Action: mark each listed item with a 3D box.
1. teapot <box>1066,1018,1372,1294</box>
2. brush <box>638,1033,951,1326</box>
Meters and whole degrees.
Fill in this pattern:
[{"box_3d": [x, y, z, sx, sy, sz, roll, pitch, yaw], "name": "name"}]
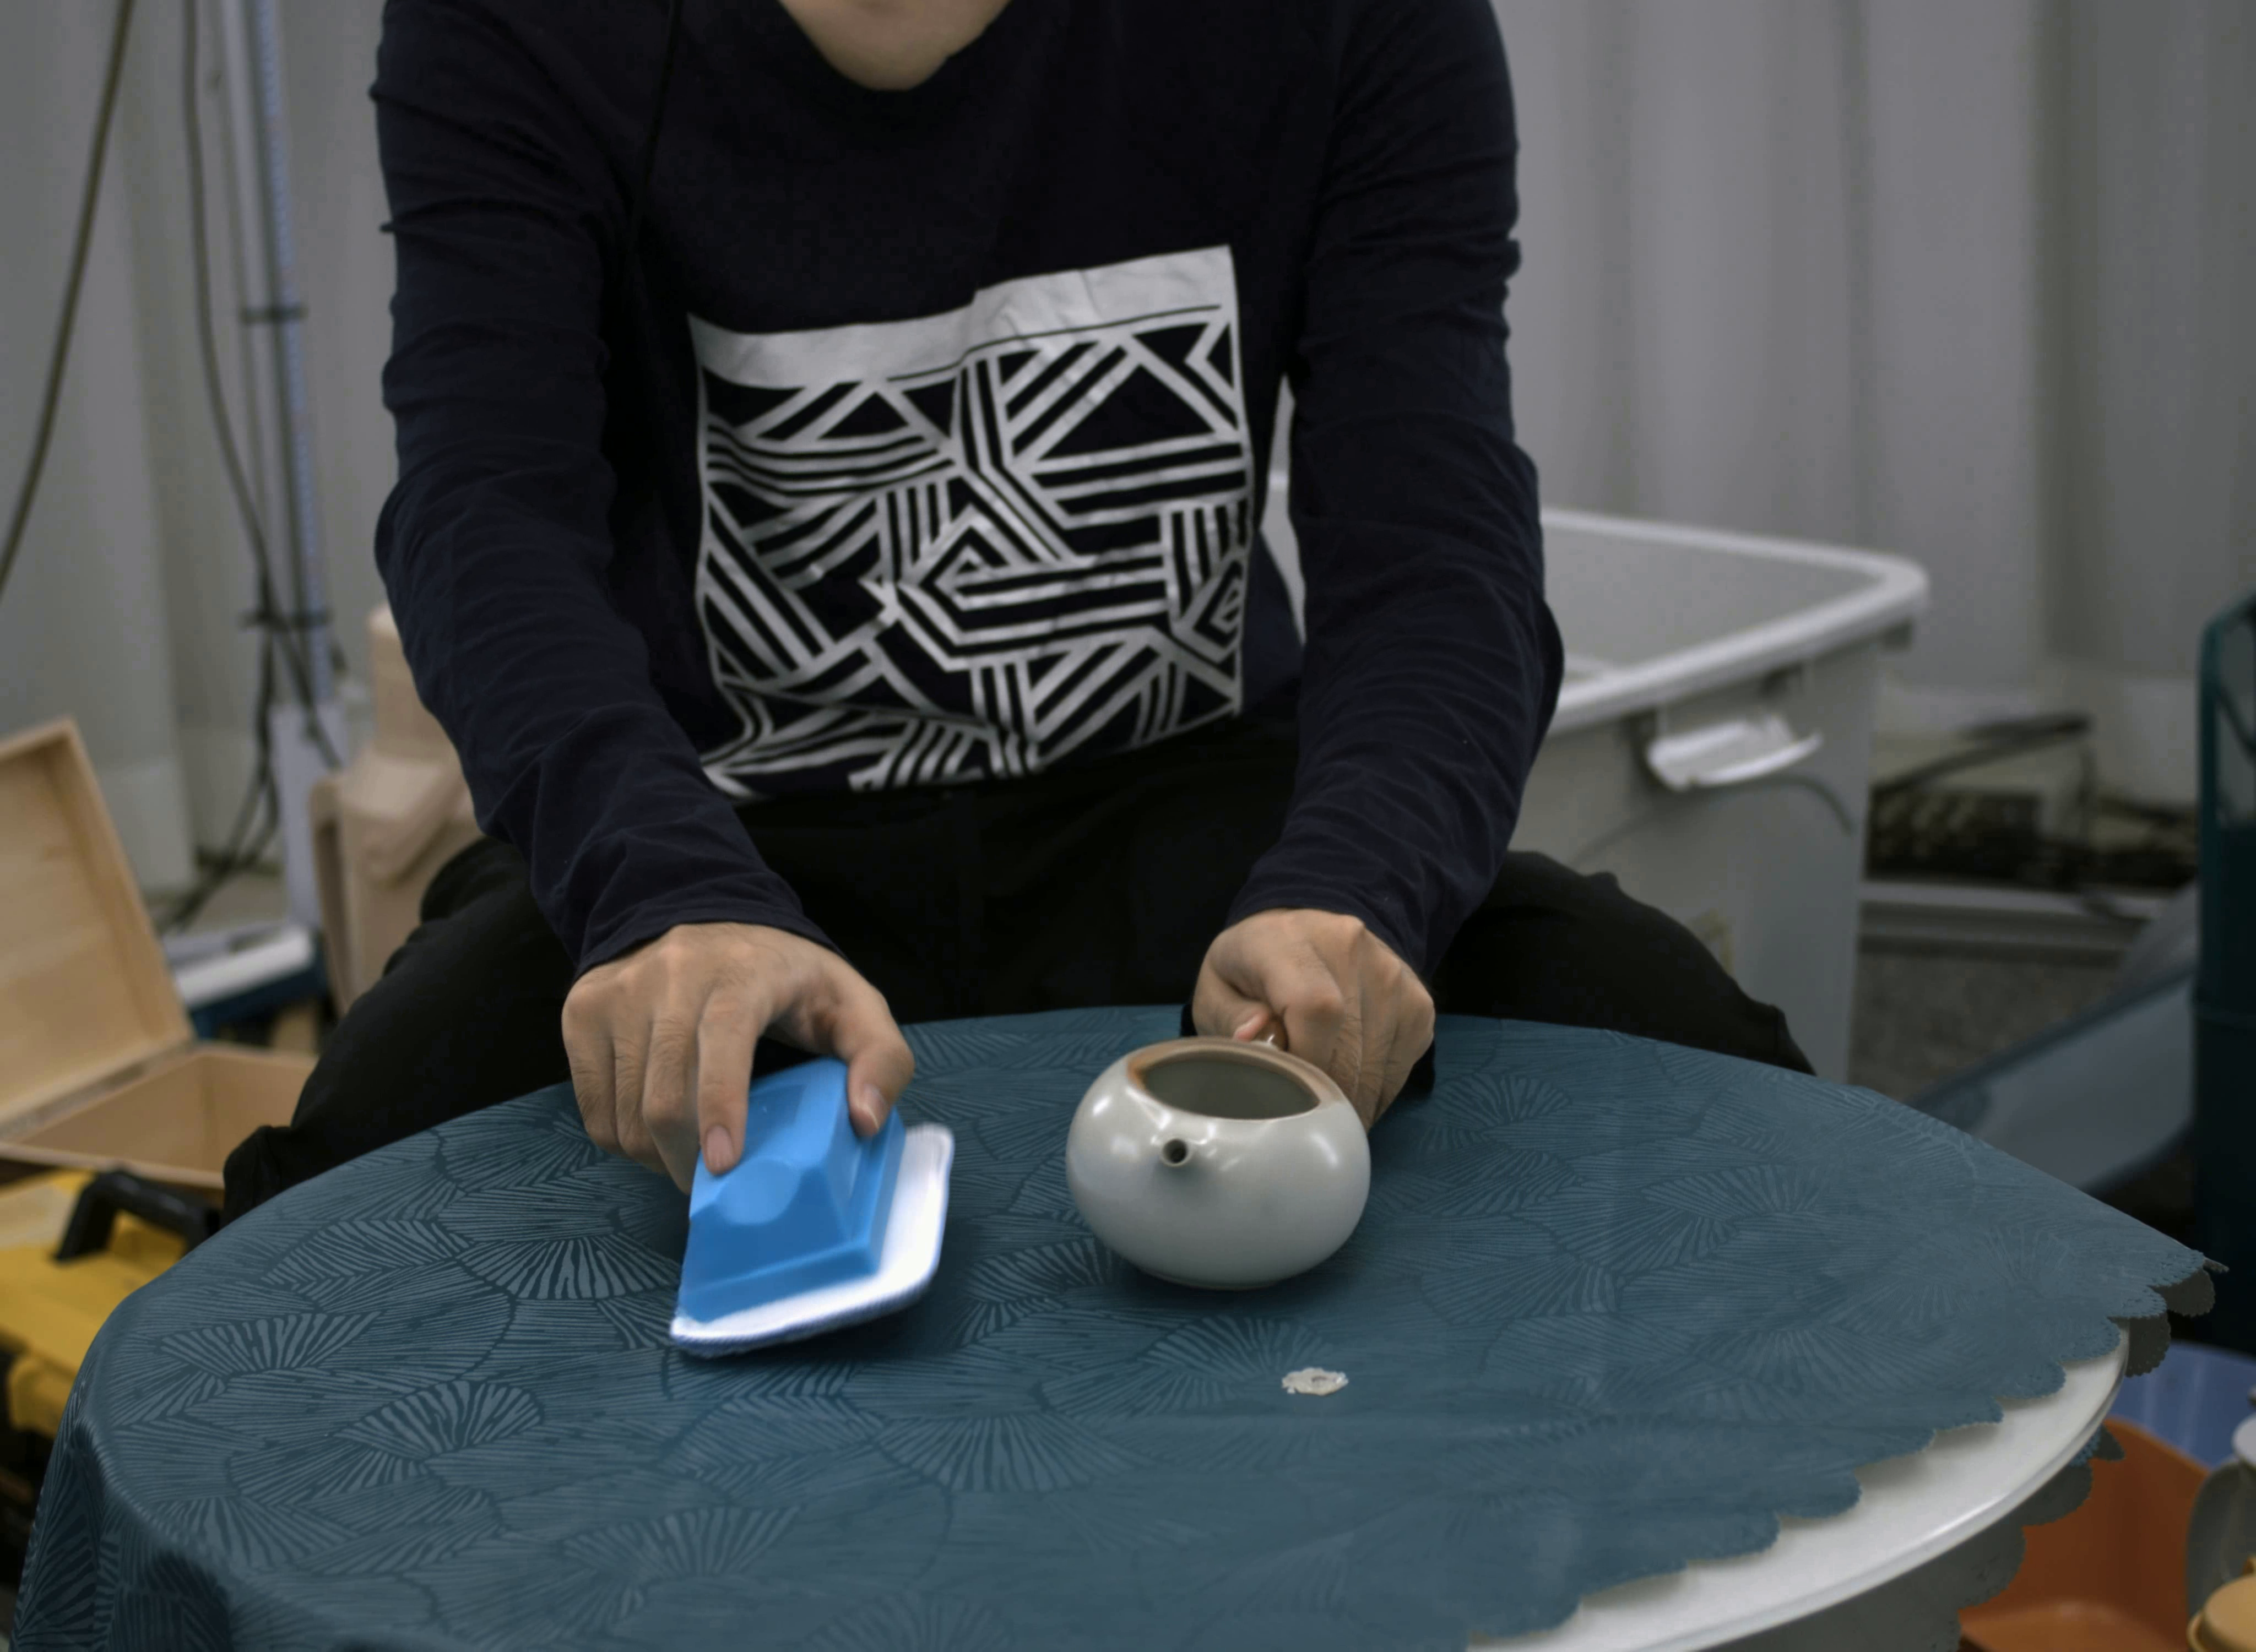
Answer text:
[{"box_3d": [0.030, 0.099, 1.640, 0.092, 0.059, 0.129, 5, 21, 15], "name": "teapot"}, {"box_3d": [-0.102, 0.103, 1.641, 0.083, 0.055, 0.145, -9, 19, 7], "name": "brush"}]
